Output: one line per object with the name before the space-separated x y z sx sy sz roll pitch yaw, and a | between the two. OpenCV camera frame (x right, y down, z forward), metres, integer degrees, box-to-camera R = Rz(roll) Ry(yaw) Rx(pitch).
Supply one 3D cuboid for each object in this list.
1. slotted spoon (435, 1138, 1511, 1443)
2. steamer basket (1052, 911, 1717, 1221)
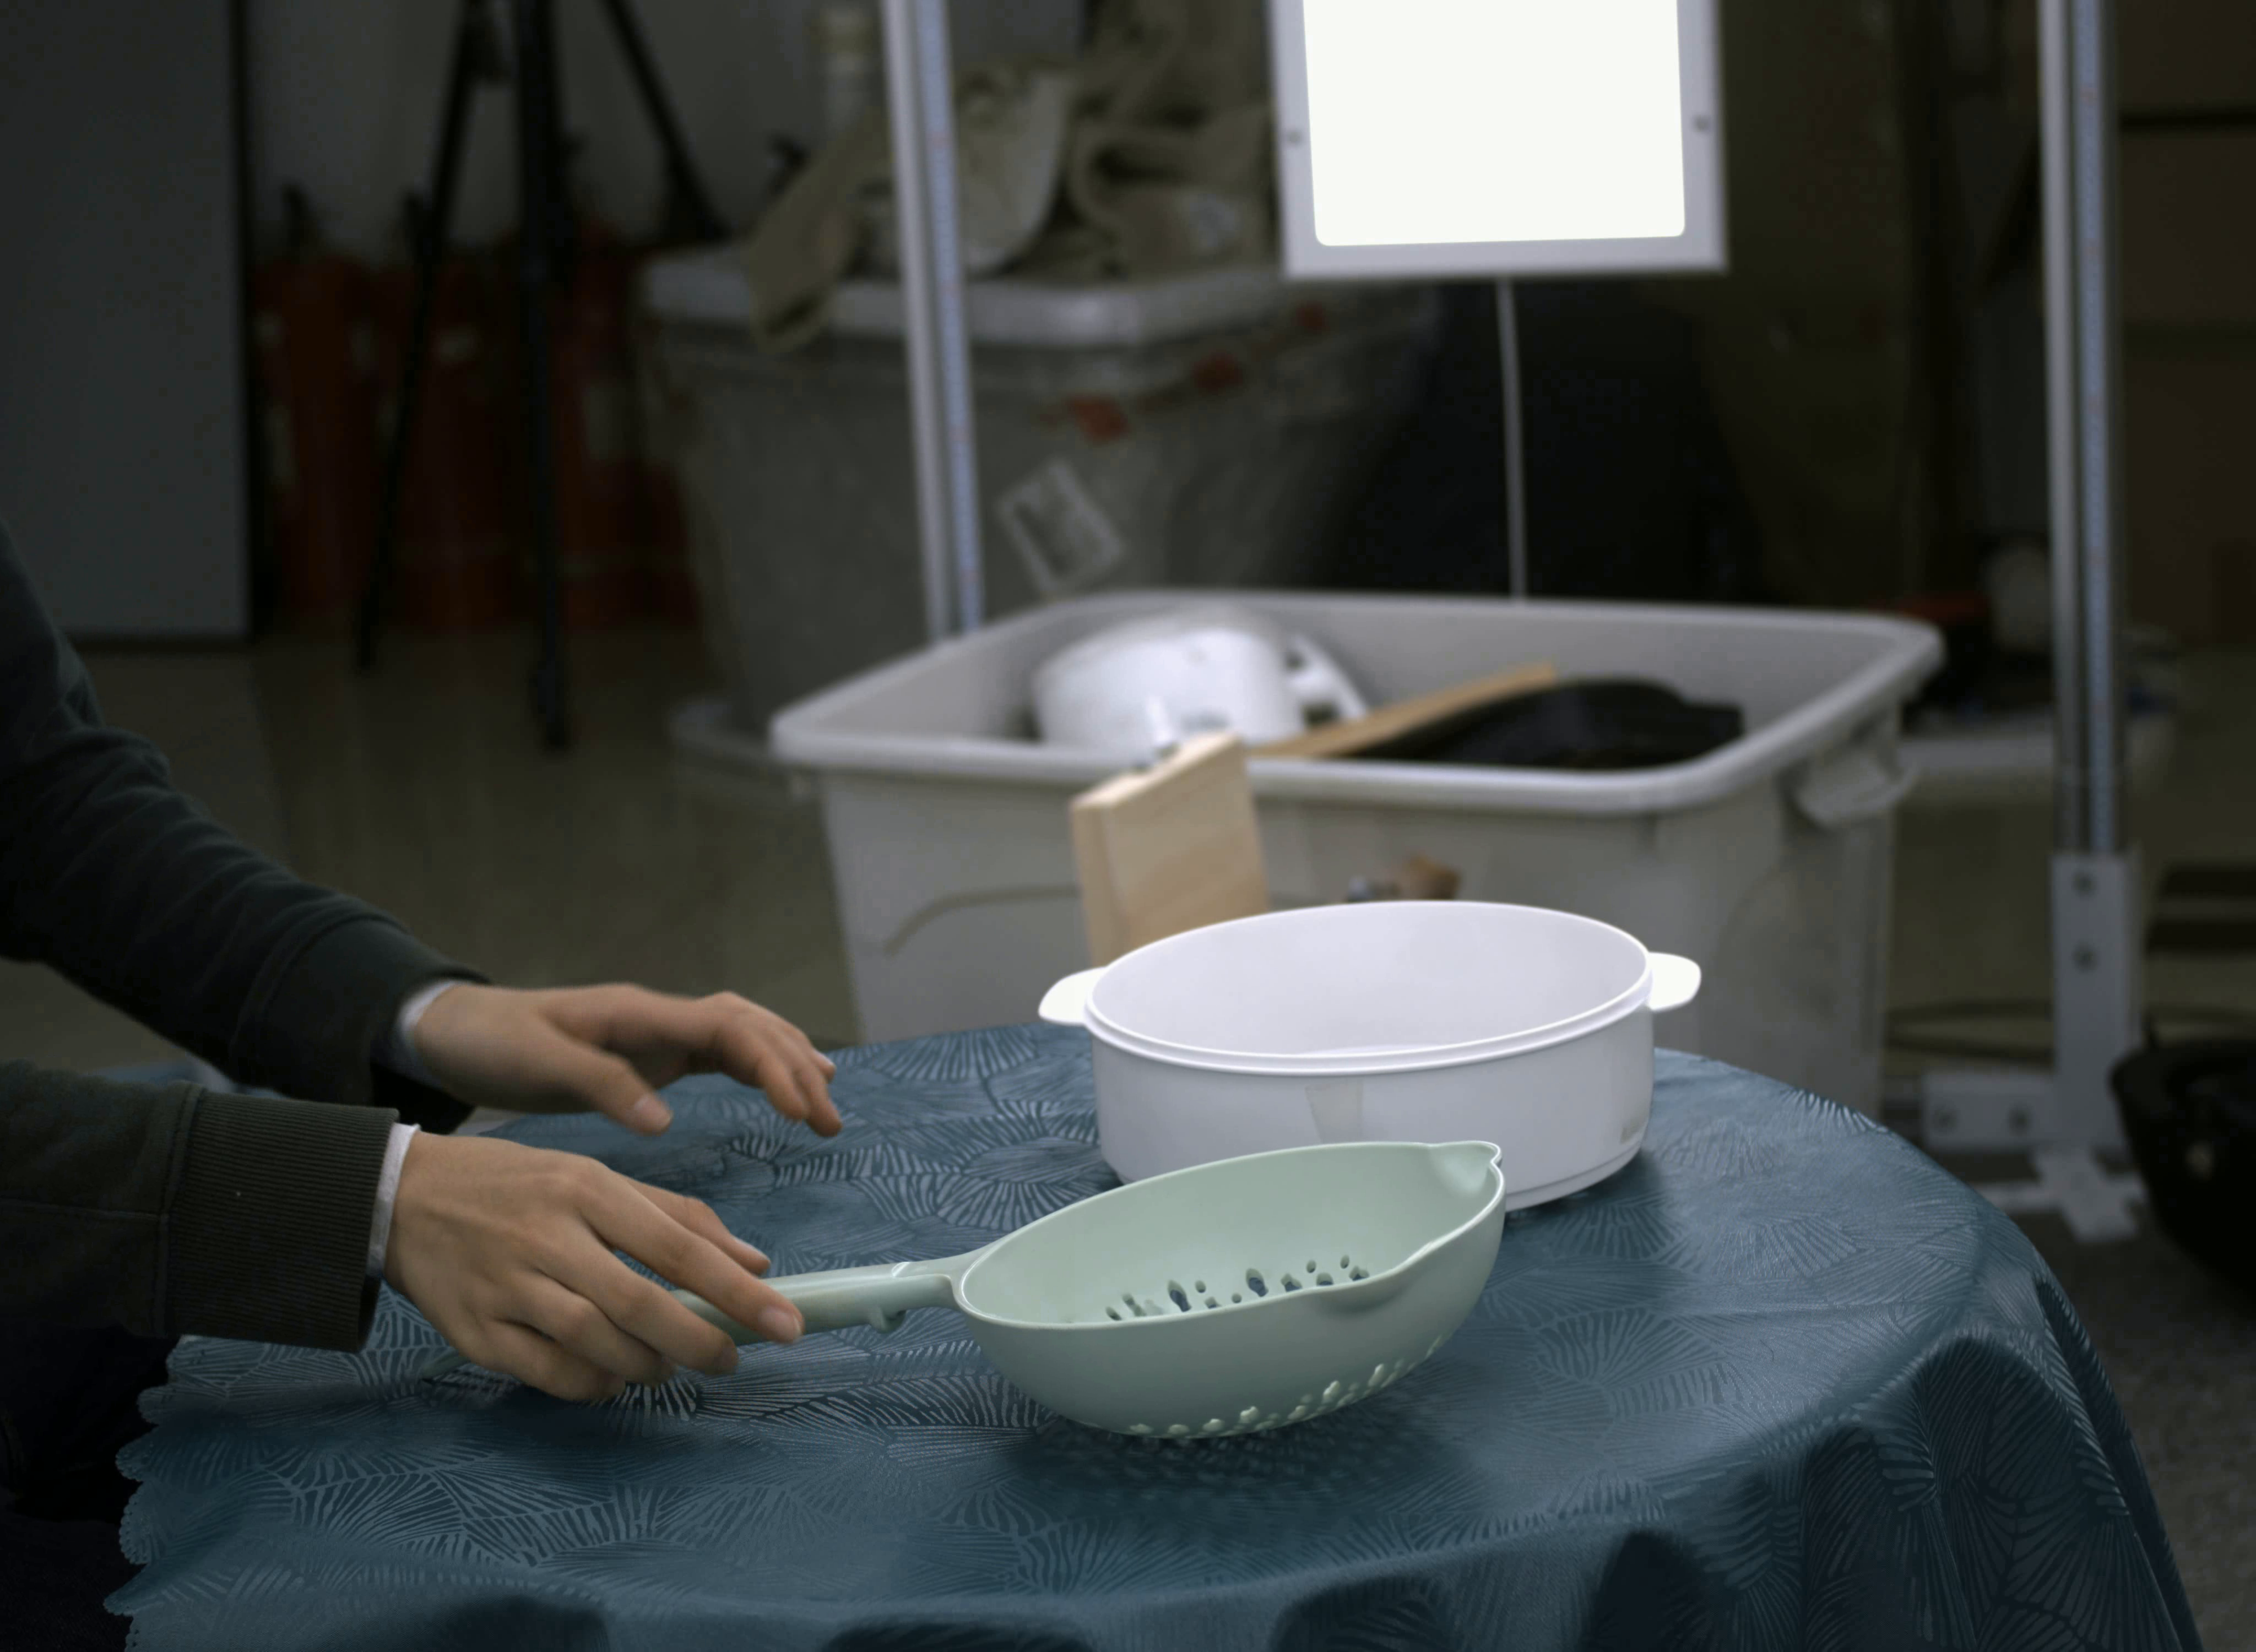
slotted spoon | -0.056 0.146 1.700 0.364 0.075 0.166 0 14 21
steamer basket | 0.090 0.085 1.900 0.232 0.069 0.200 -2 13 11
